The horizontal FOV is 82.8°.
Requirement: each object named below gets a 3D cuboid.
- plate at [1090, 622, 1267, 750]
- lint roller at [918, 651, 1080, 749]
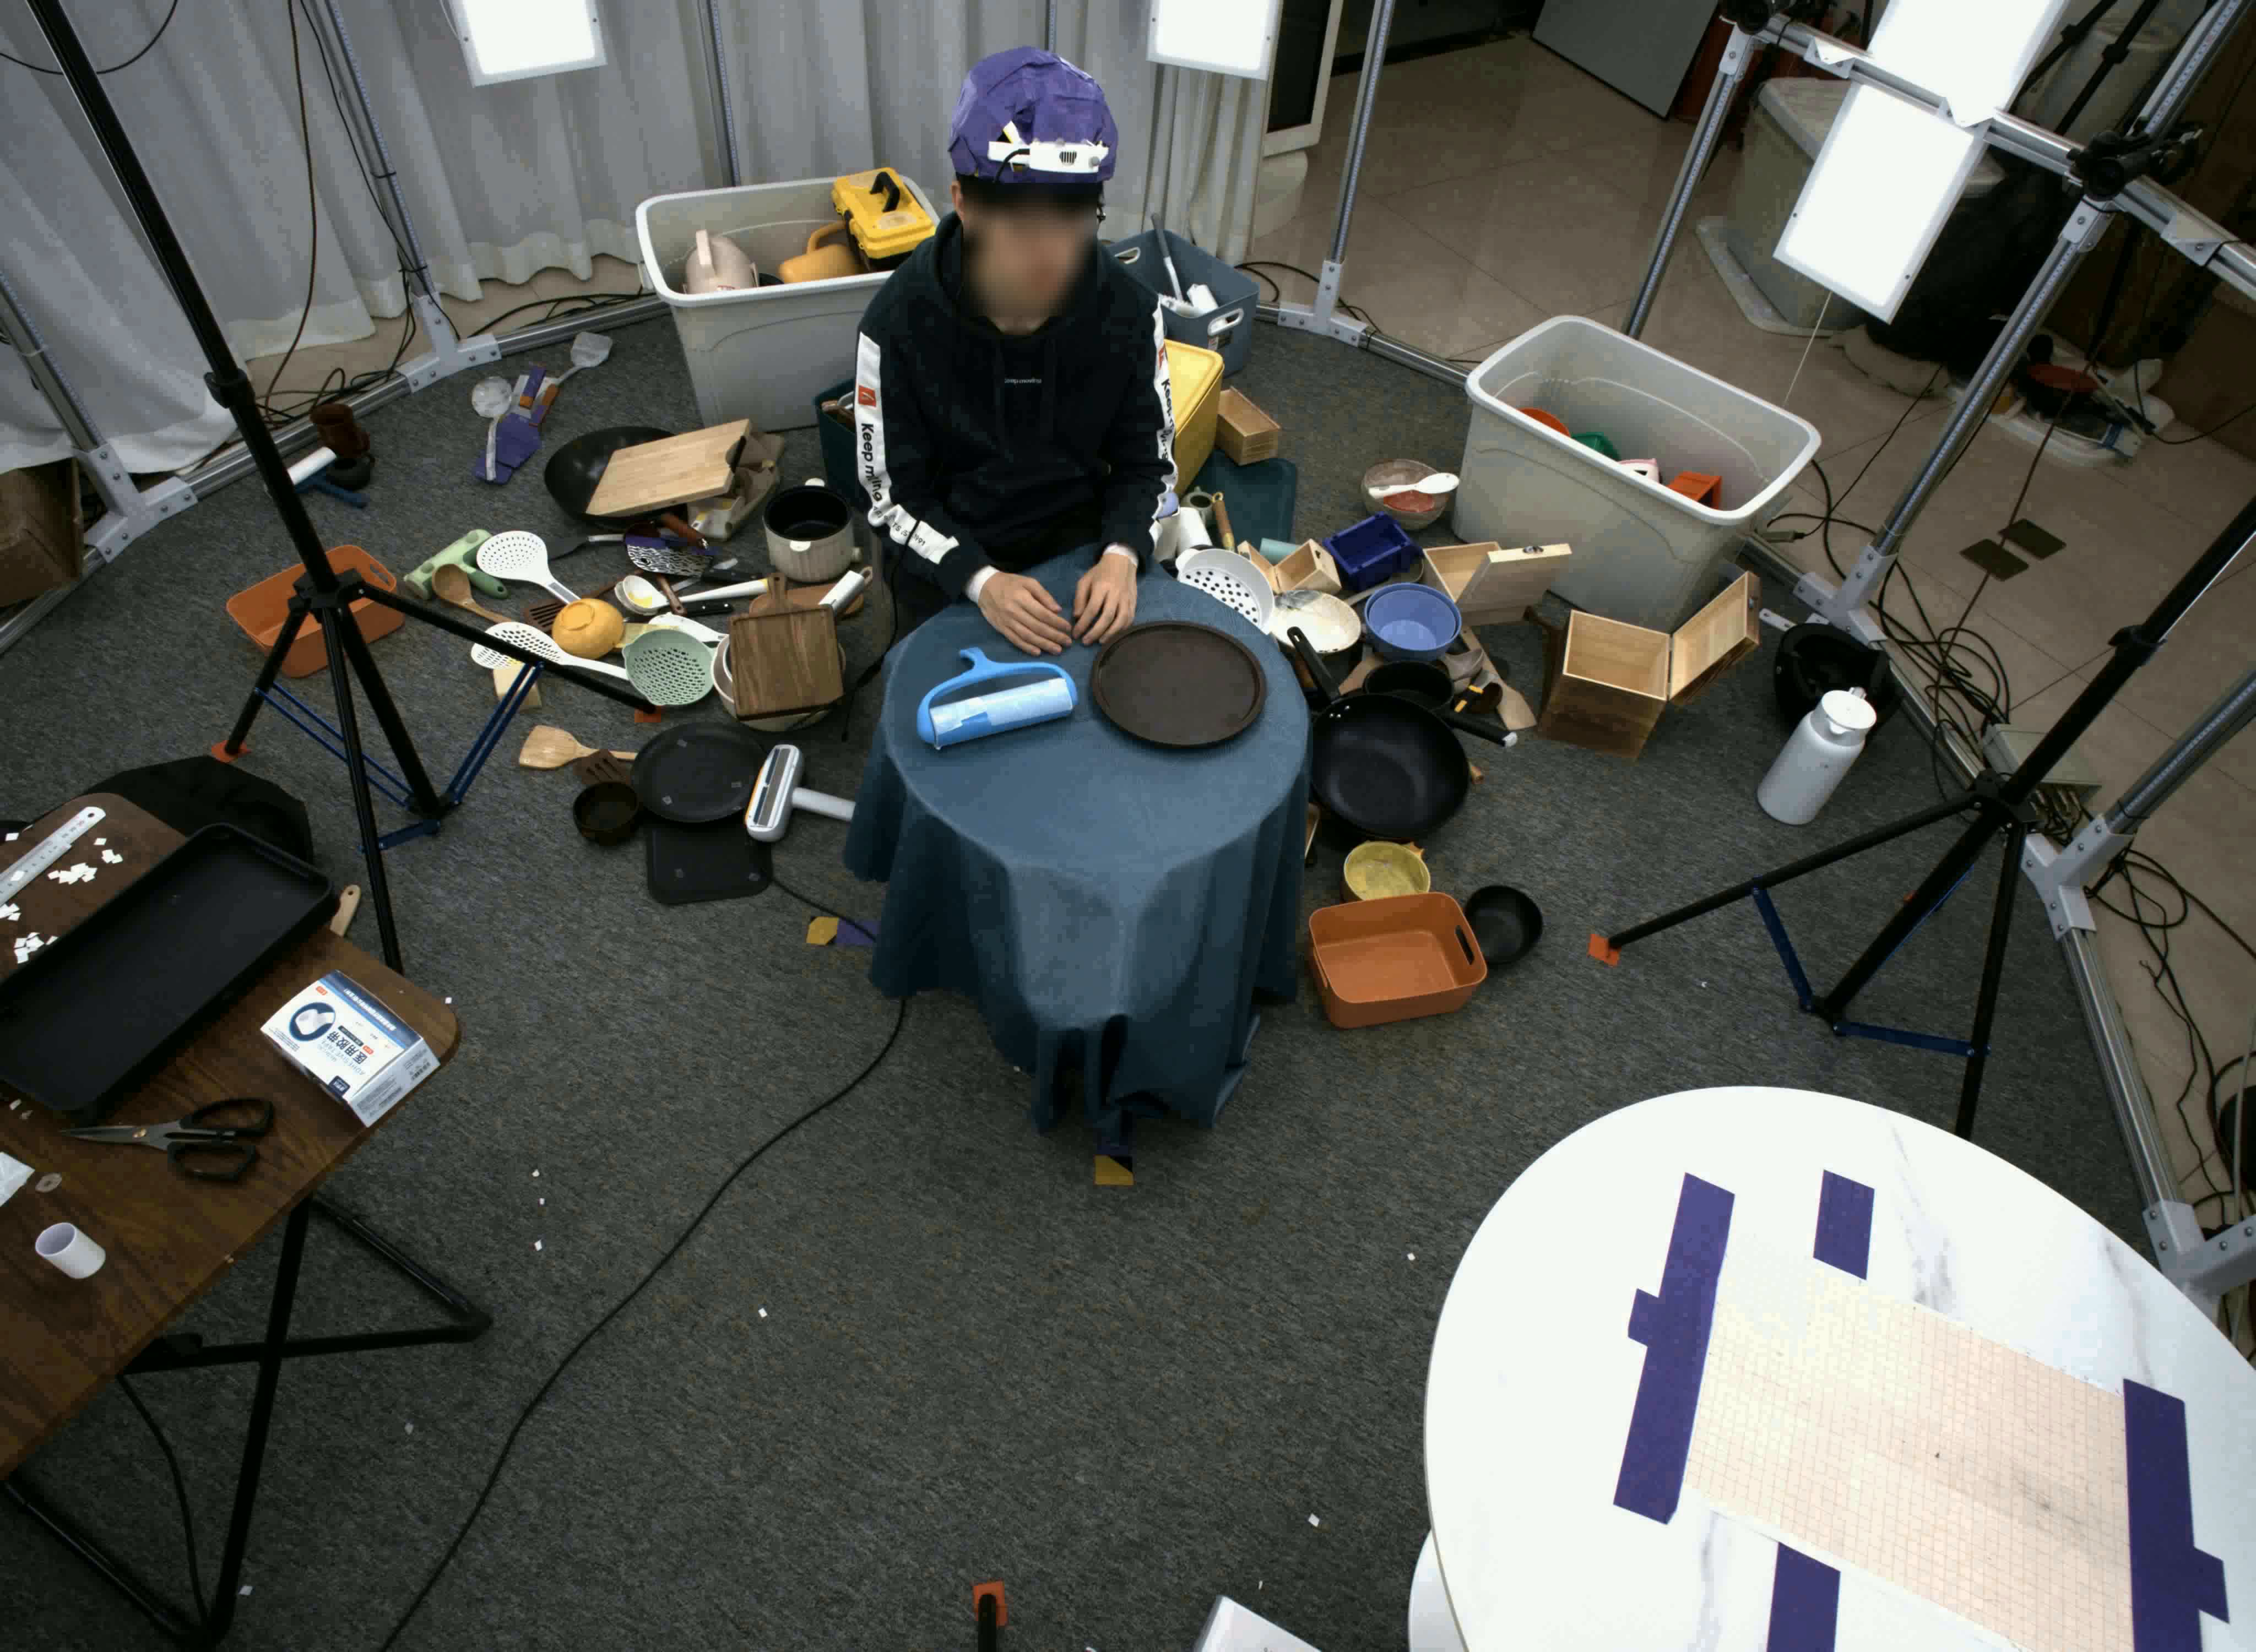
[{"bbox_3d":[0.072,-0.202,1.833,0.254,0.028,0.261,2,50,-3],"label":"plate"},{"bbox_3d":[-0.199,-0.198,1.790,0.229,0.066,0.184,-18,53,-17],"label":"lint roller"}]
